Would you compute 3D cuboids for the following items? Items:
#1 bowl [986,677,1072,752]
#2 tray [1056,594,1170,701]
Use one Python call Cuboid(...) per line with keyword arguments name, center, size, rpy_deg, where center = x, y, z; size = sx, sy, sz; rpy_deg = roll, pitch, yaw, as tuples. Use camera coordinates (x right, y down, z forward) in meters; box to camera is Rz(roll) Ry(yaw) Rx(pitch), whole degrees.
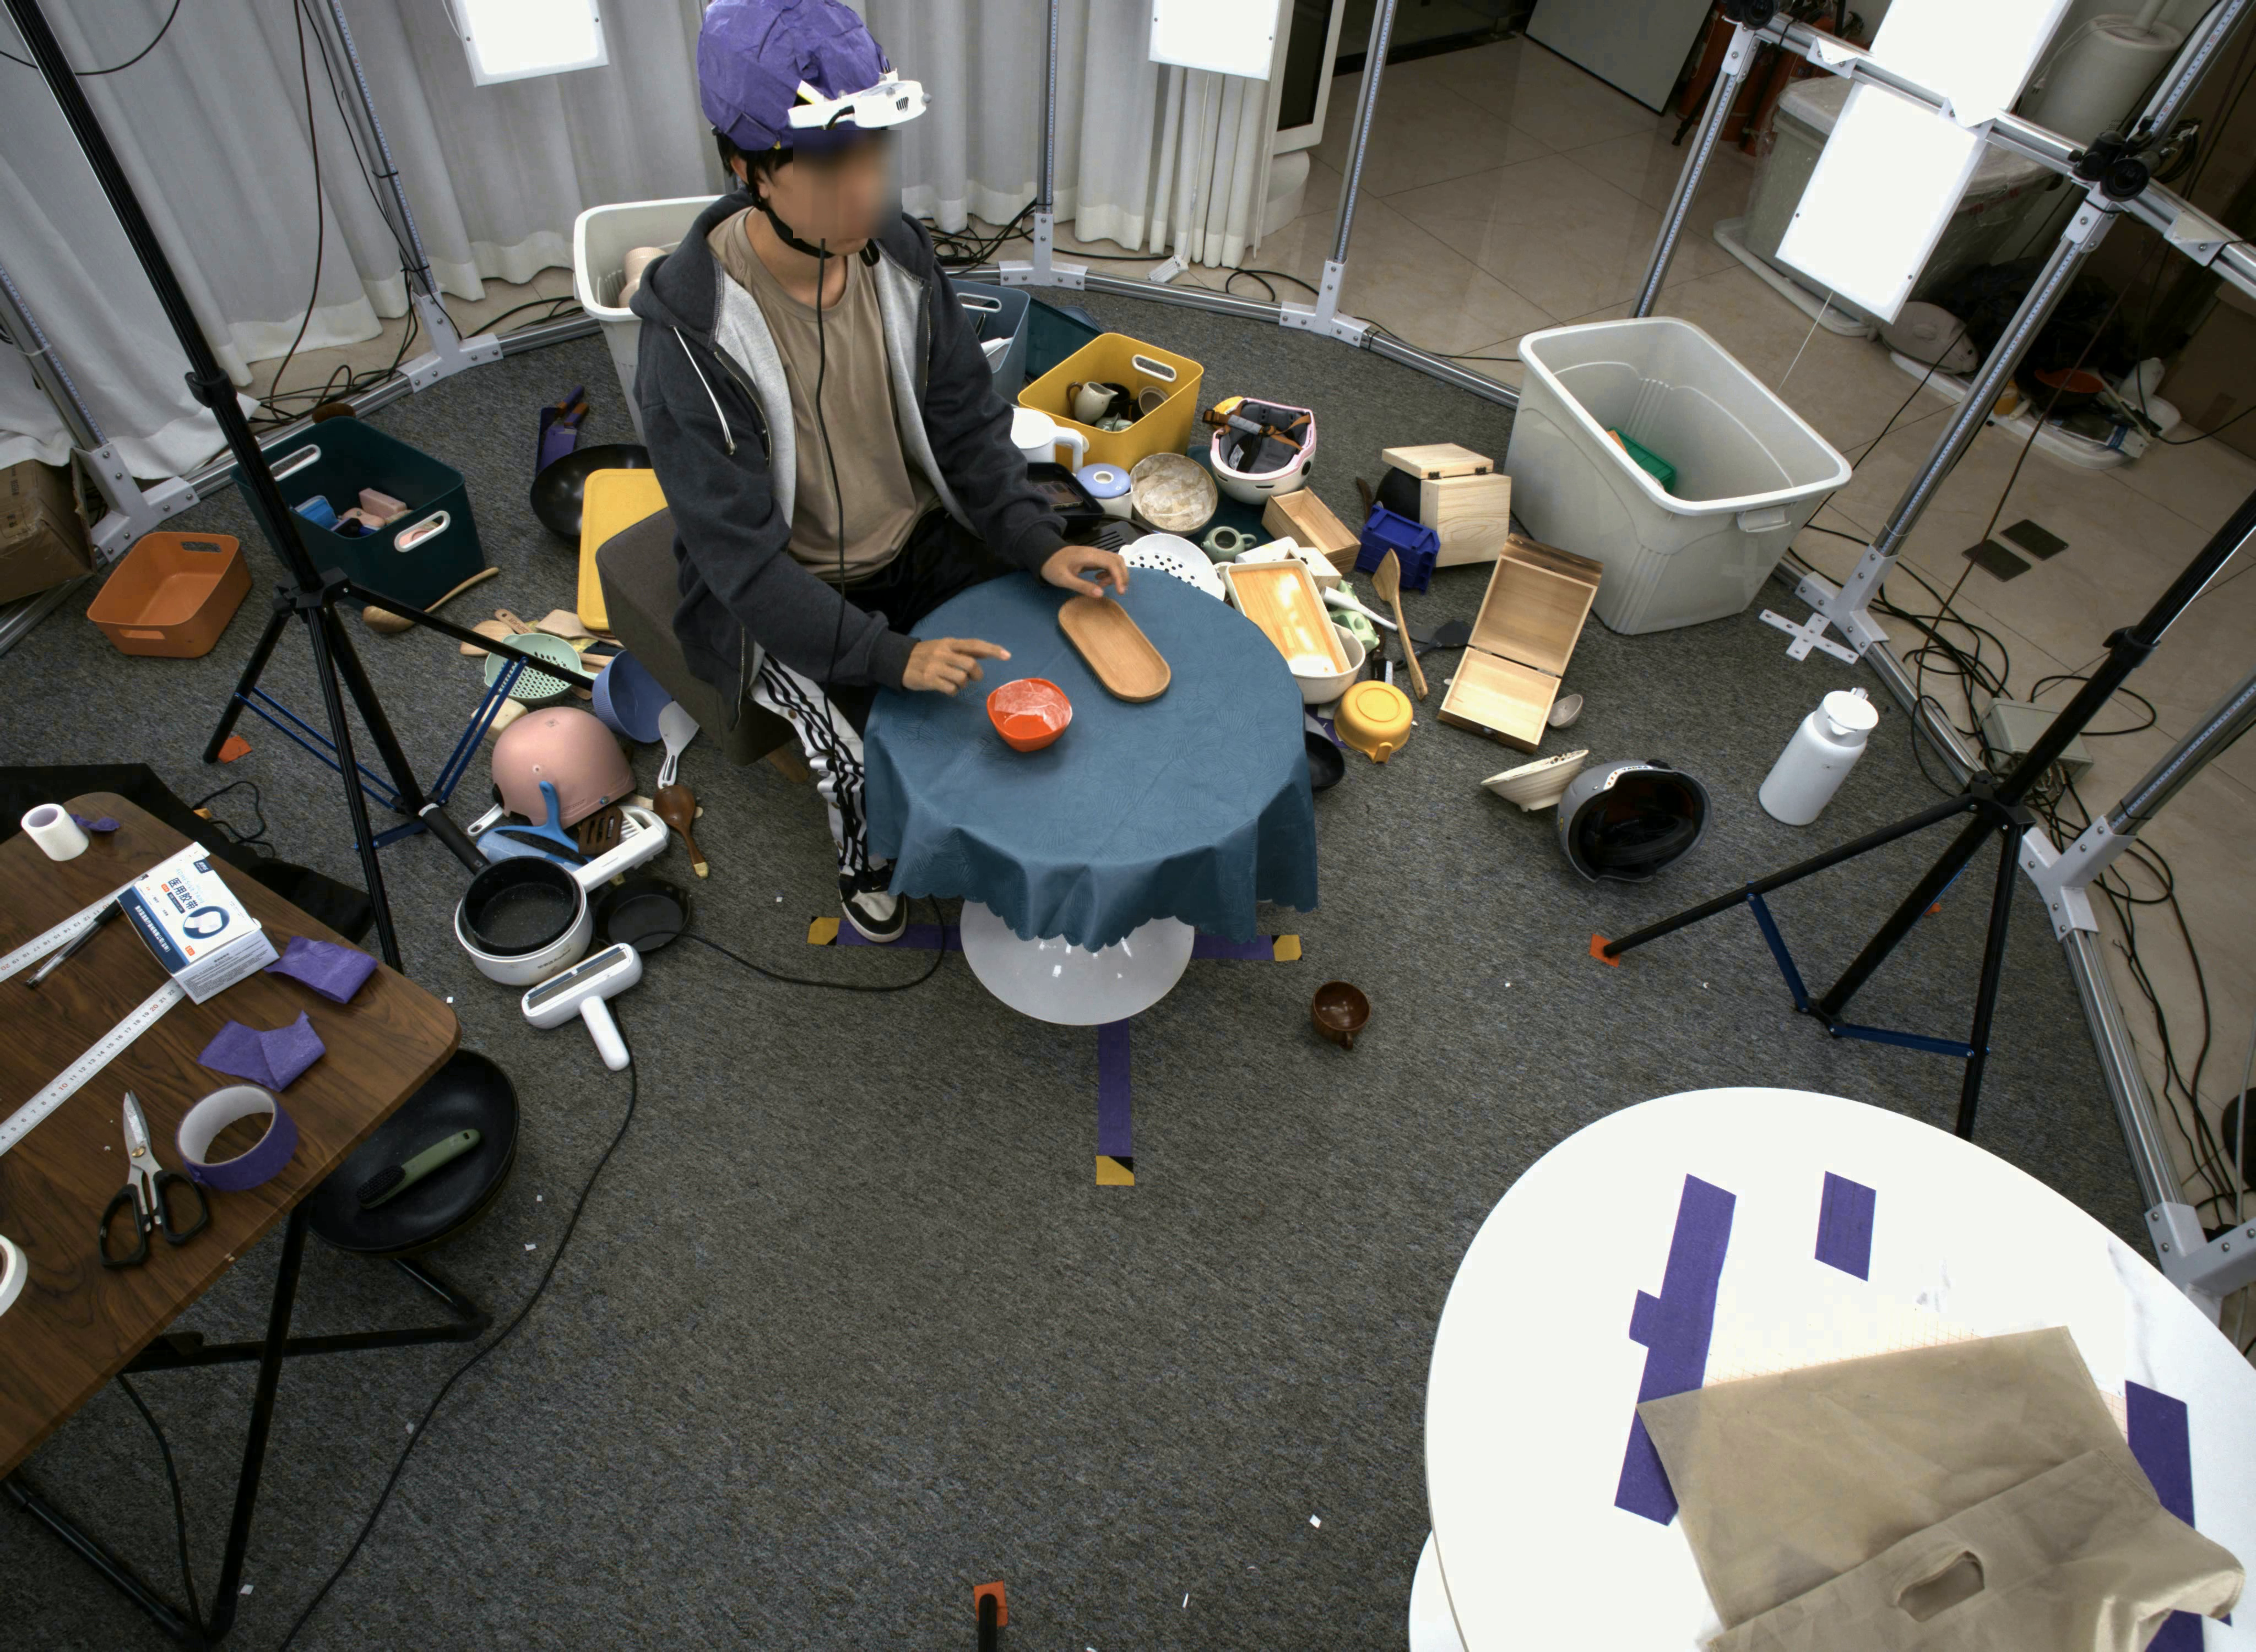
Cuboid(name="bowl", center=(-0.135, -0.146, 1.749), size=(0.119, 0.050, 0.122), rpy_deg=(2, 50, -2))
Cuboid(name="tray", center=(-0.024, -0.264, 1.883), size=(0.102, 0.020, 0.236), rpy_deg=(-21, 53, -22))
